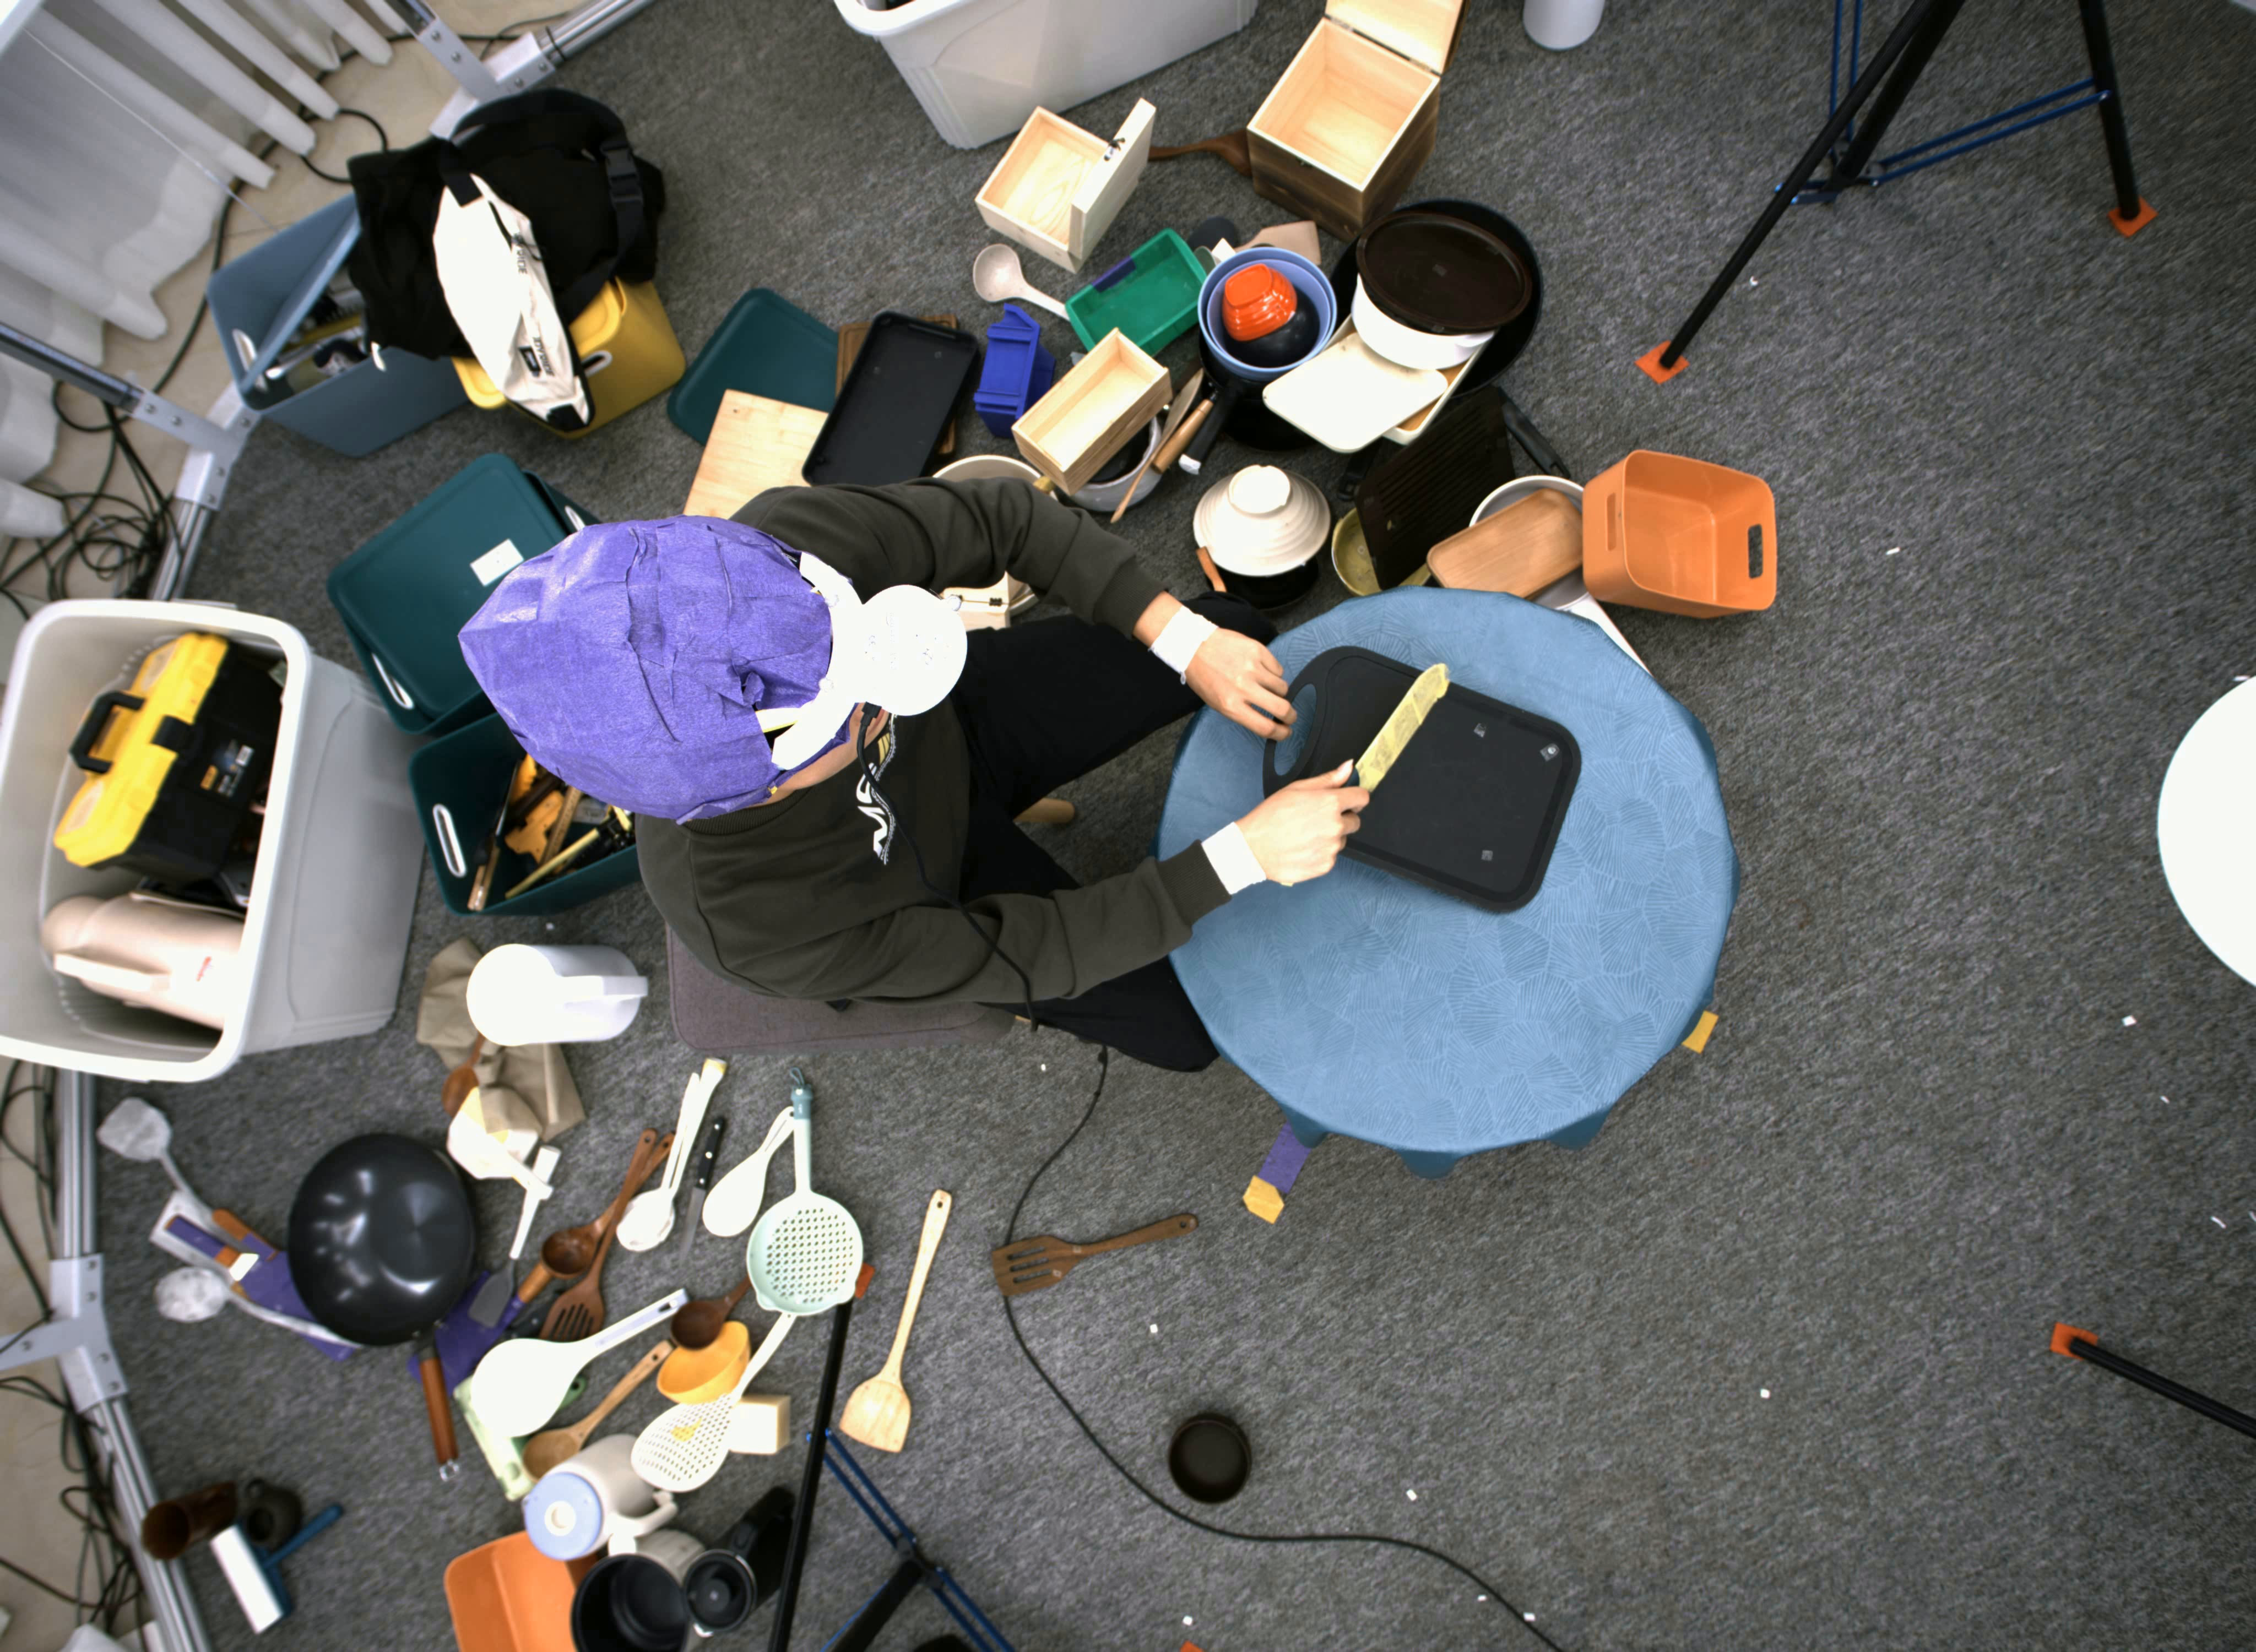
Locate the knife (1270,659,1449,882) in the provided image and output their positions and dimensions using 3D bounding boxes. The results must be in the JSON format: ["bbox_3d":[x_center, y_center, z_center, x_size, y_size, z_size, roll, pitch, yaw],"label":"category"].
[{"bbox_3d":[0.237,-0.058,1.379,0.027,0.082,0.288,36,85,31],"label":"knife"}]

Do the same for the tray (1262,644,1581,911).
[{"bbox_3d":[0.298,-0.054,1.415,0.326,0.010,0.211,20,90,-4],"label":"tray"}]
